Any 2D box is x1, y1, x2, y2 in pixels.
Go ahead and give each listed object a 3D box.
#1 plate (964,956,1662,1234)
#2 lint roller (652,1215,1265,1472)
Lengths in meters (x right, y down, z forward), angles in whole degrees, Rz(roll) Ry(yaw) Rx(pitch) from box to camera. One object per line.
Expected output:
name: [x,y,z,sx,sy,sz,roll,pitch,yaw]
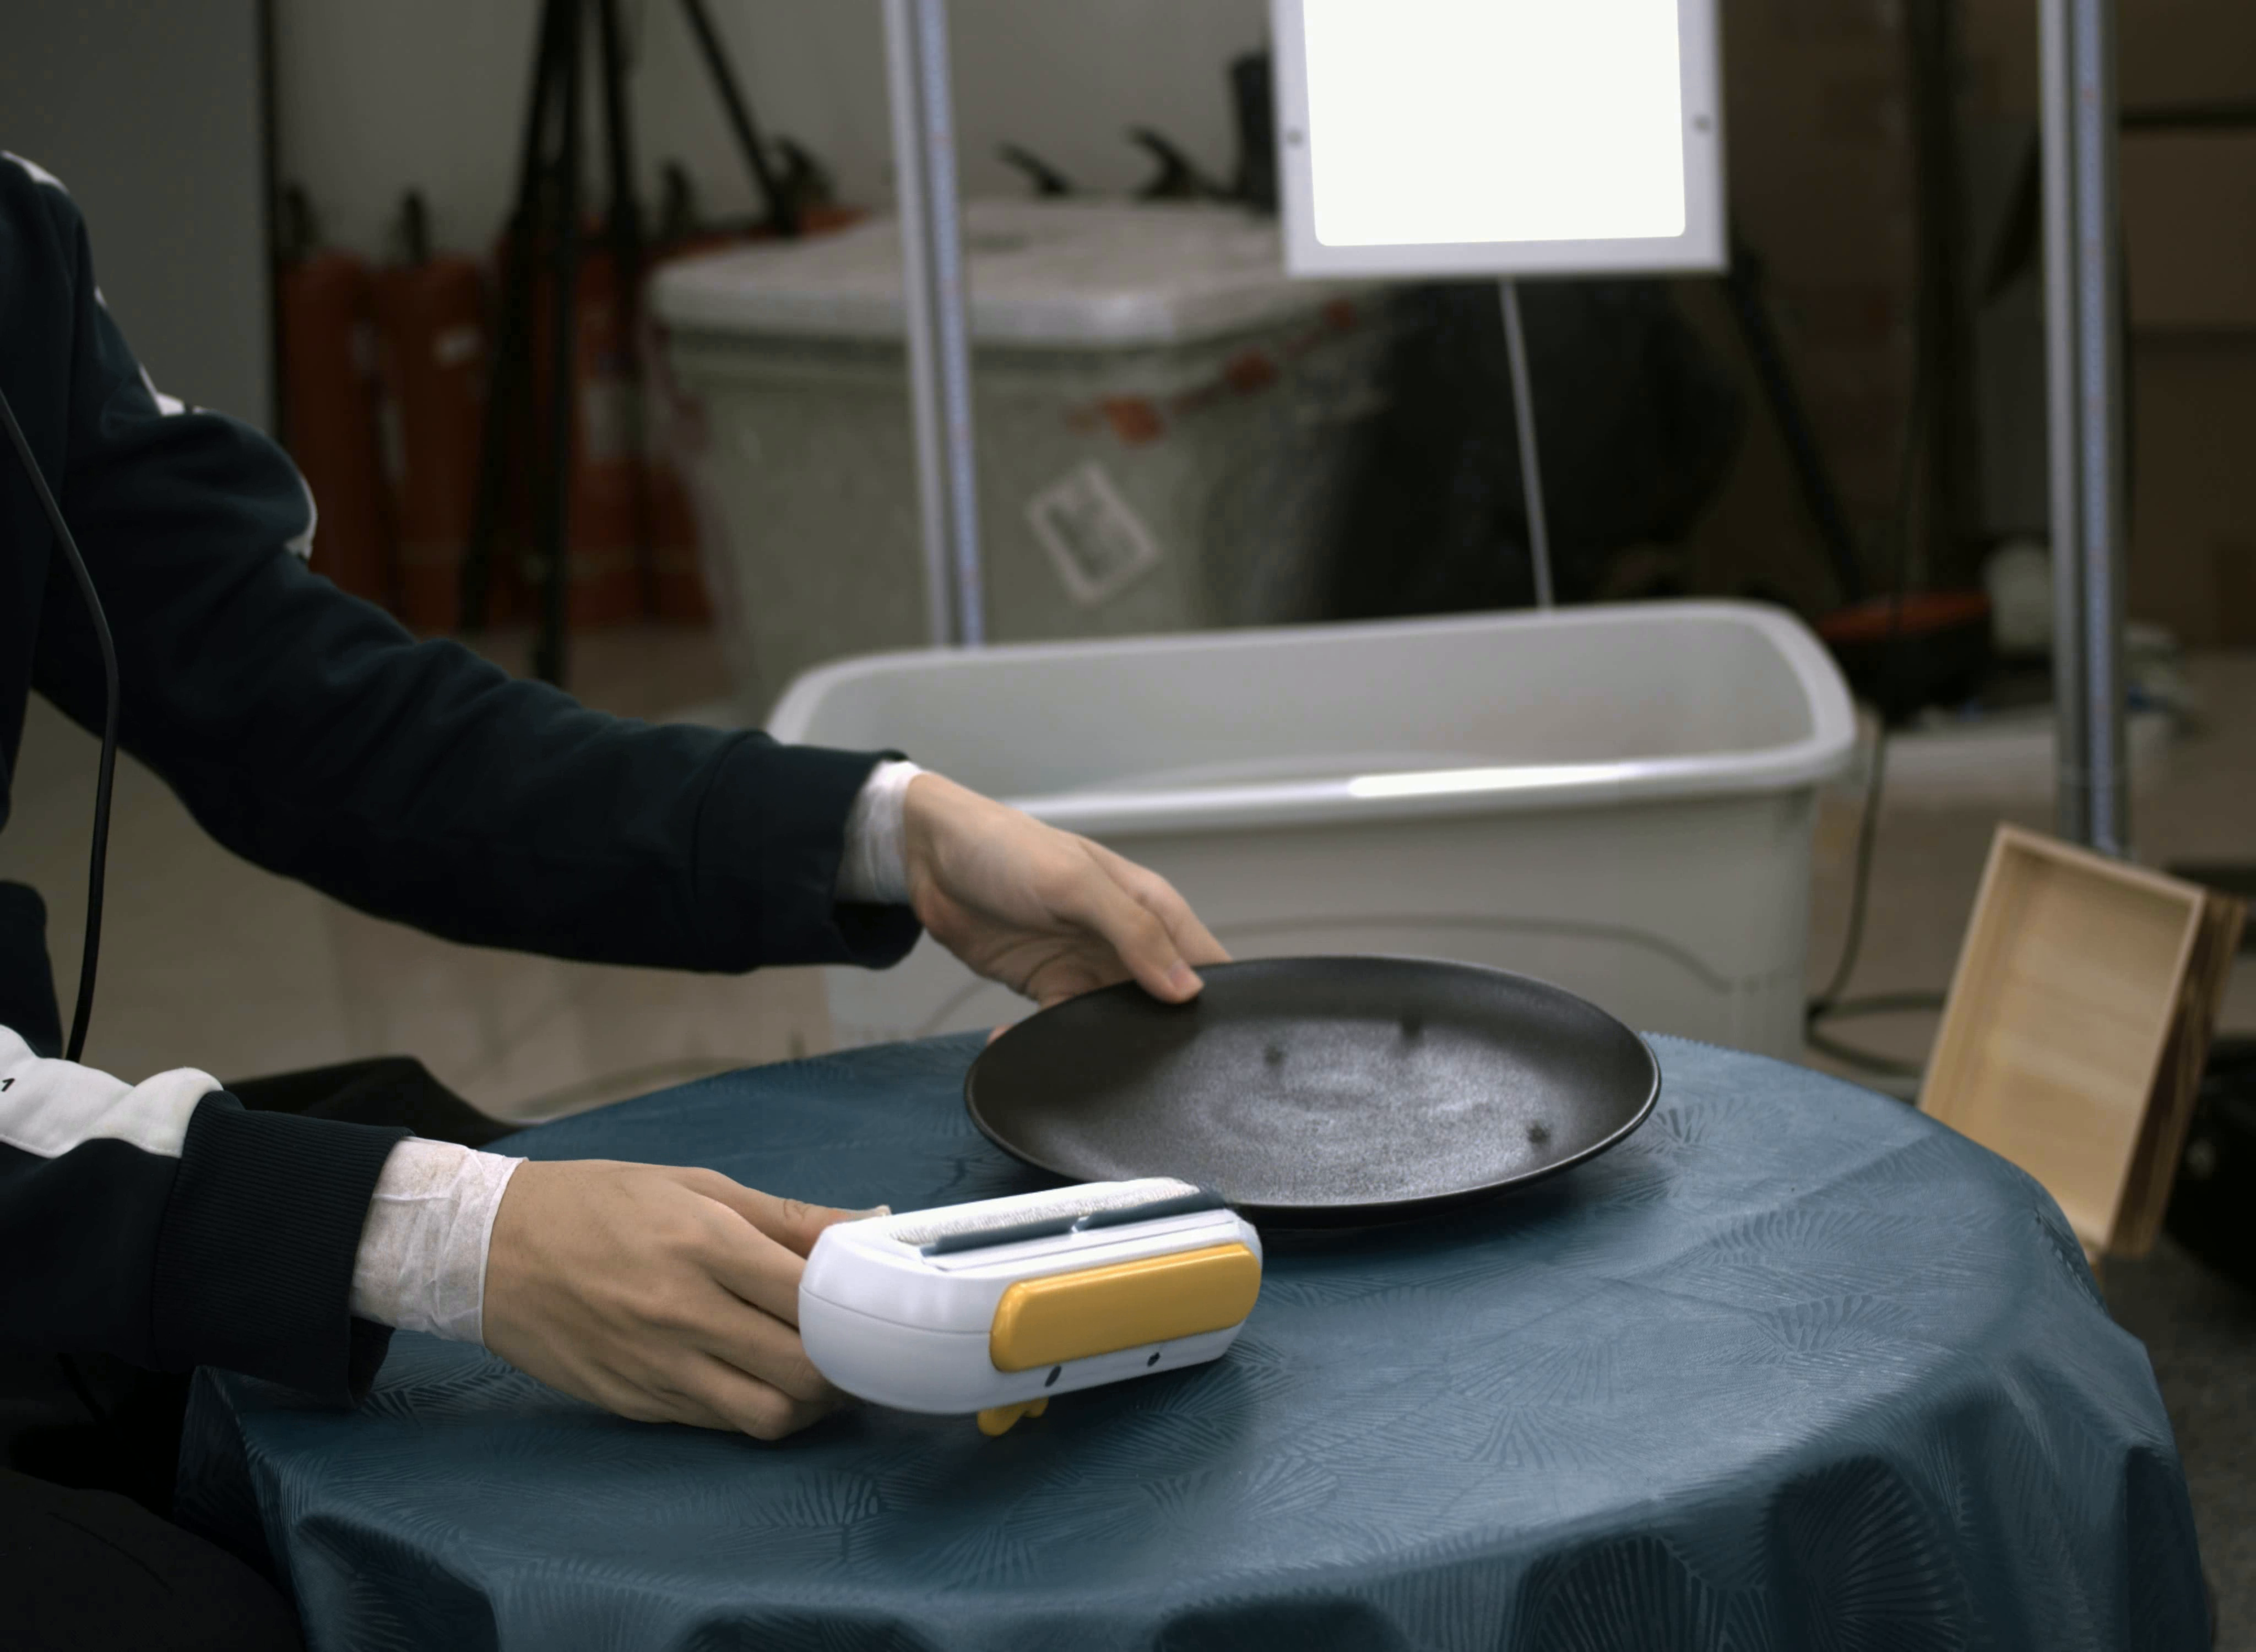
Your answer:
plate: [0.065,0.096,1.913,0.244,0.023,0.244,-4,19,0]
lint roller: [-0.075,0.164,1.703,0.197,0.074,0.188,-11,-2,40]
